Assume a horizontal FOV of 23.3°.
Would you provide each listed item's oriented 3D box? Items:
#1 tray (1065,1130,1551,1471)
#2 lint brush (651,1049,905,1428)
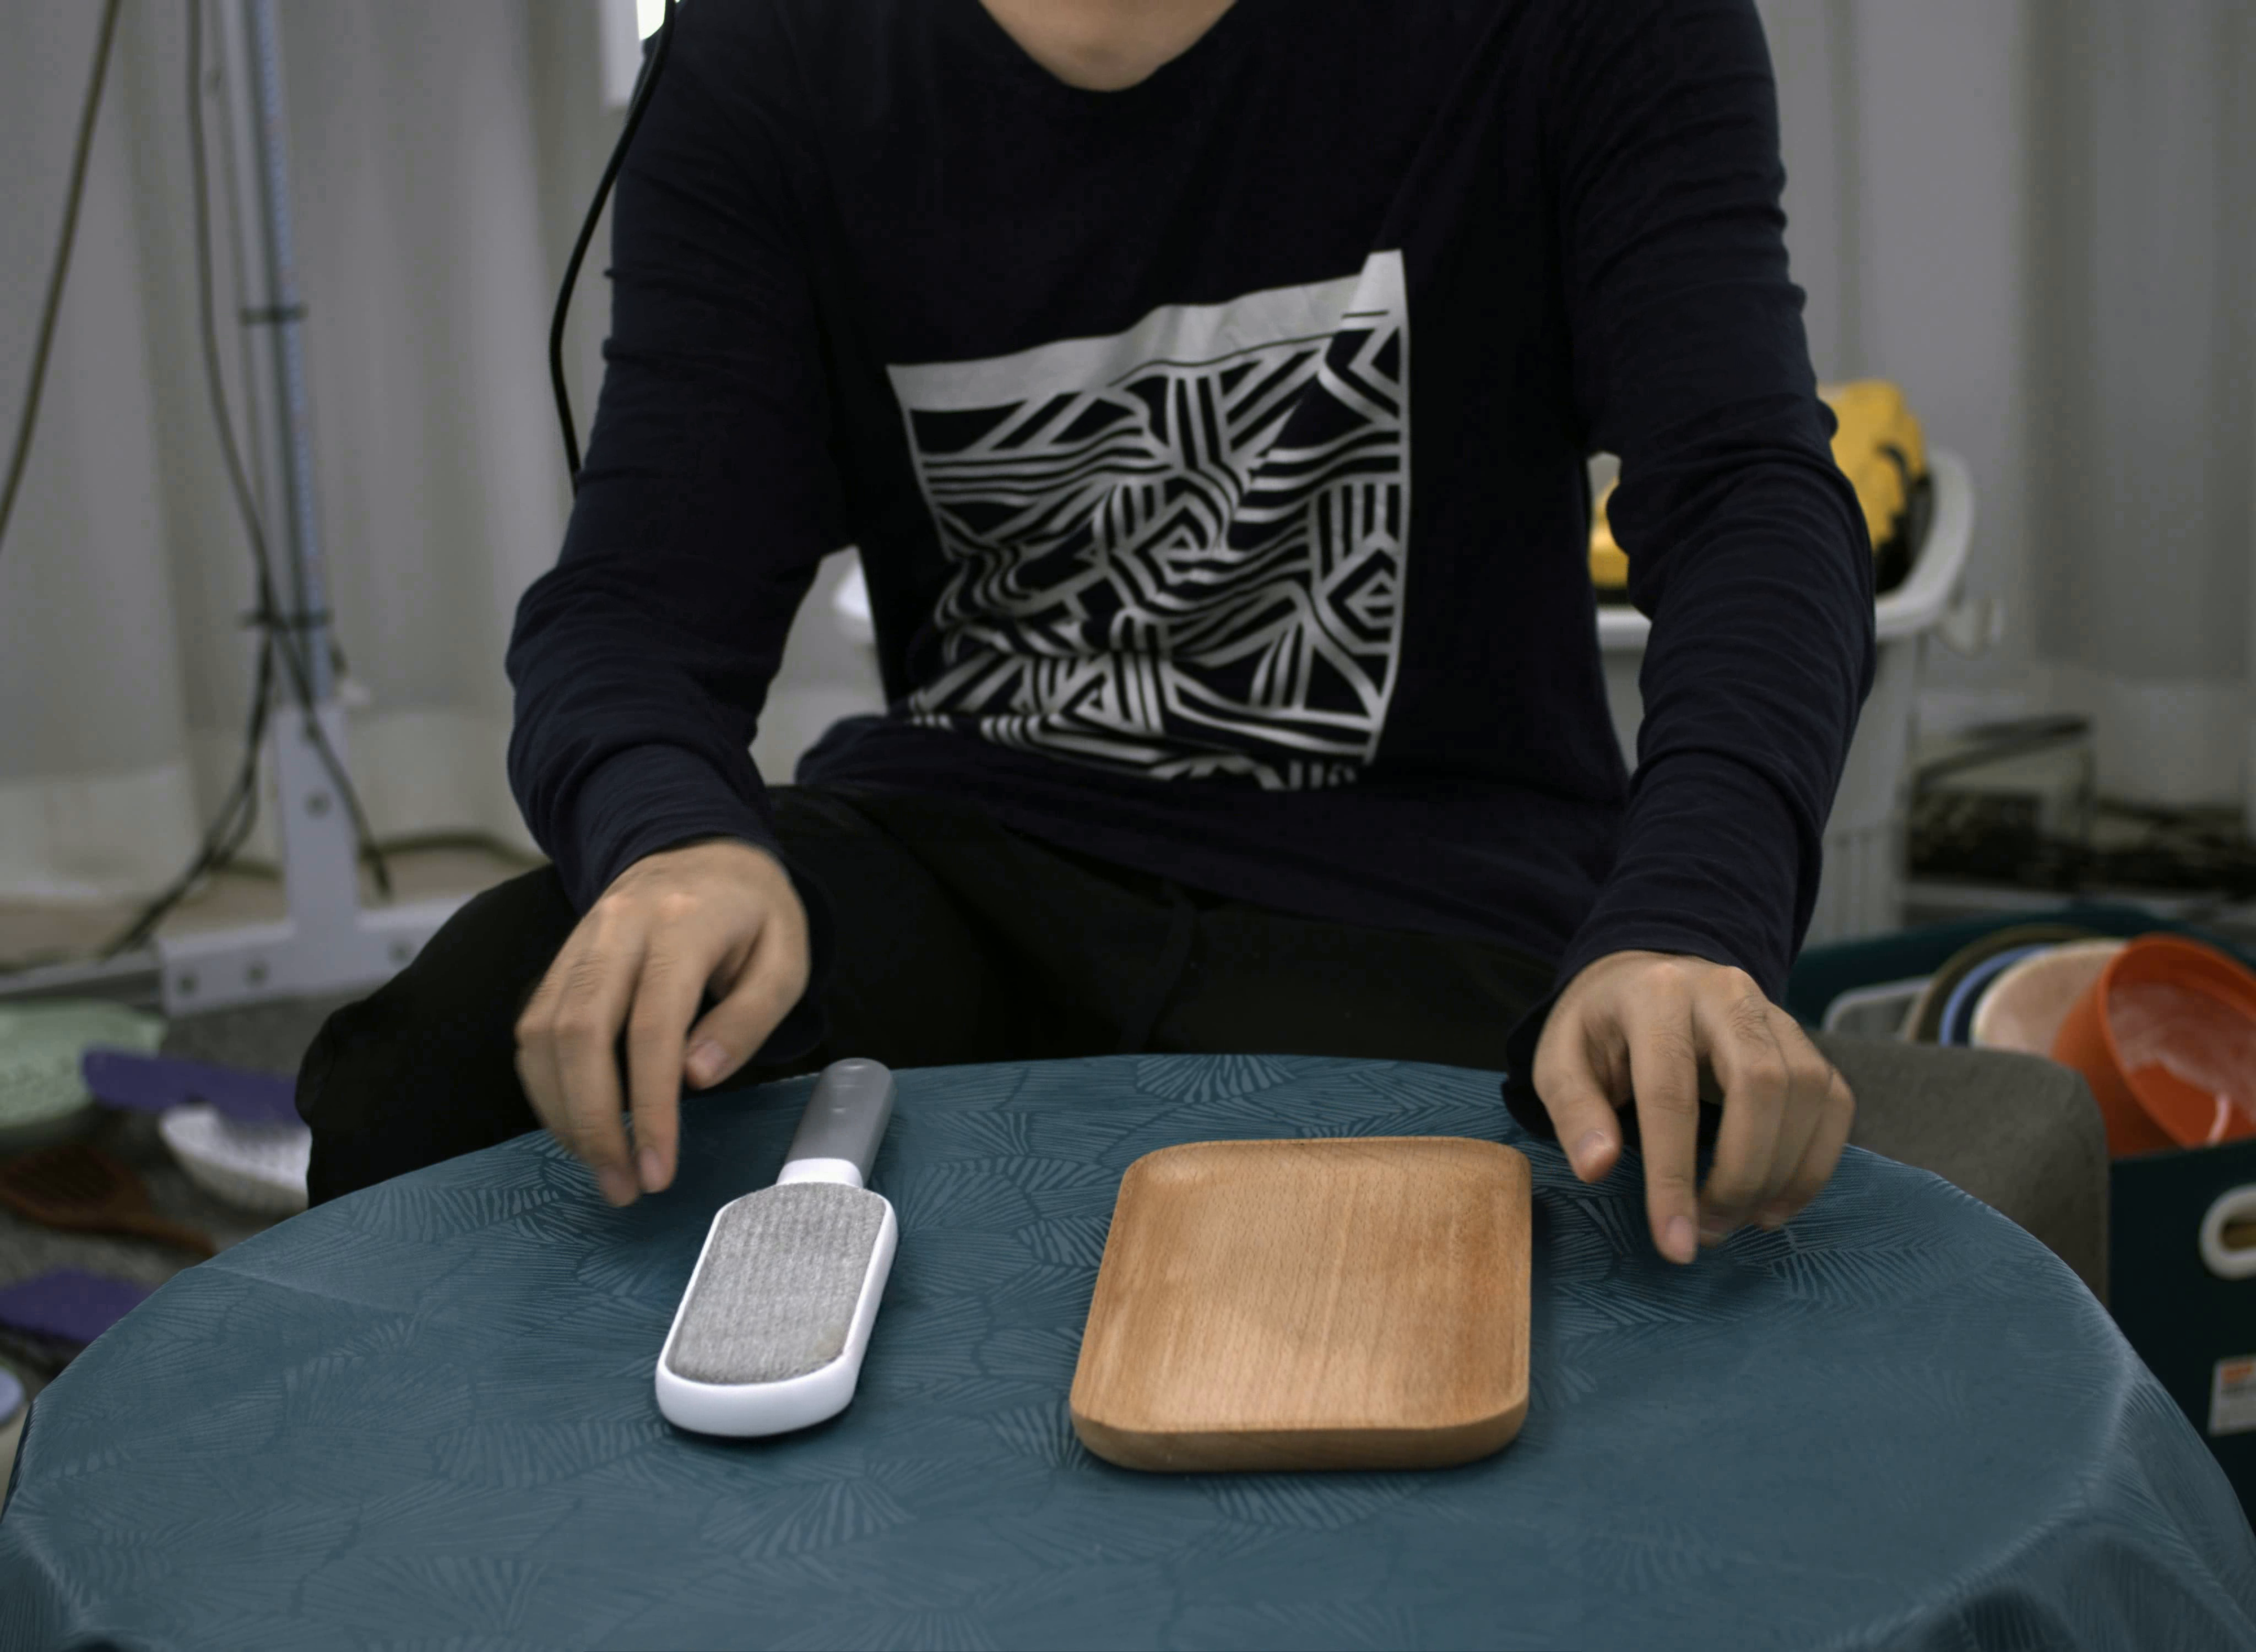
[{"bbox_3d":[0.056,0.136,1.594,0.130,0.023,0.252,1,15,7],"label":"tray"},{"bbox_3d":[-0.097,0.121,1.660,0.060,0.021,0.311,-7,14,5],"label":"lint brush"}]
